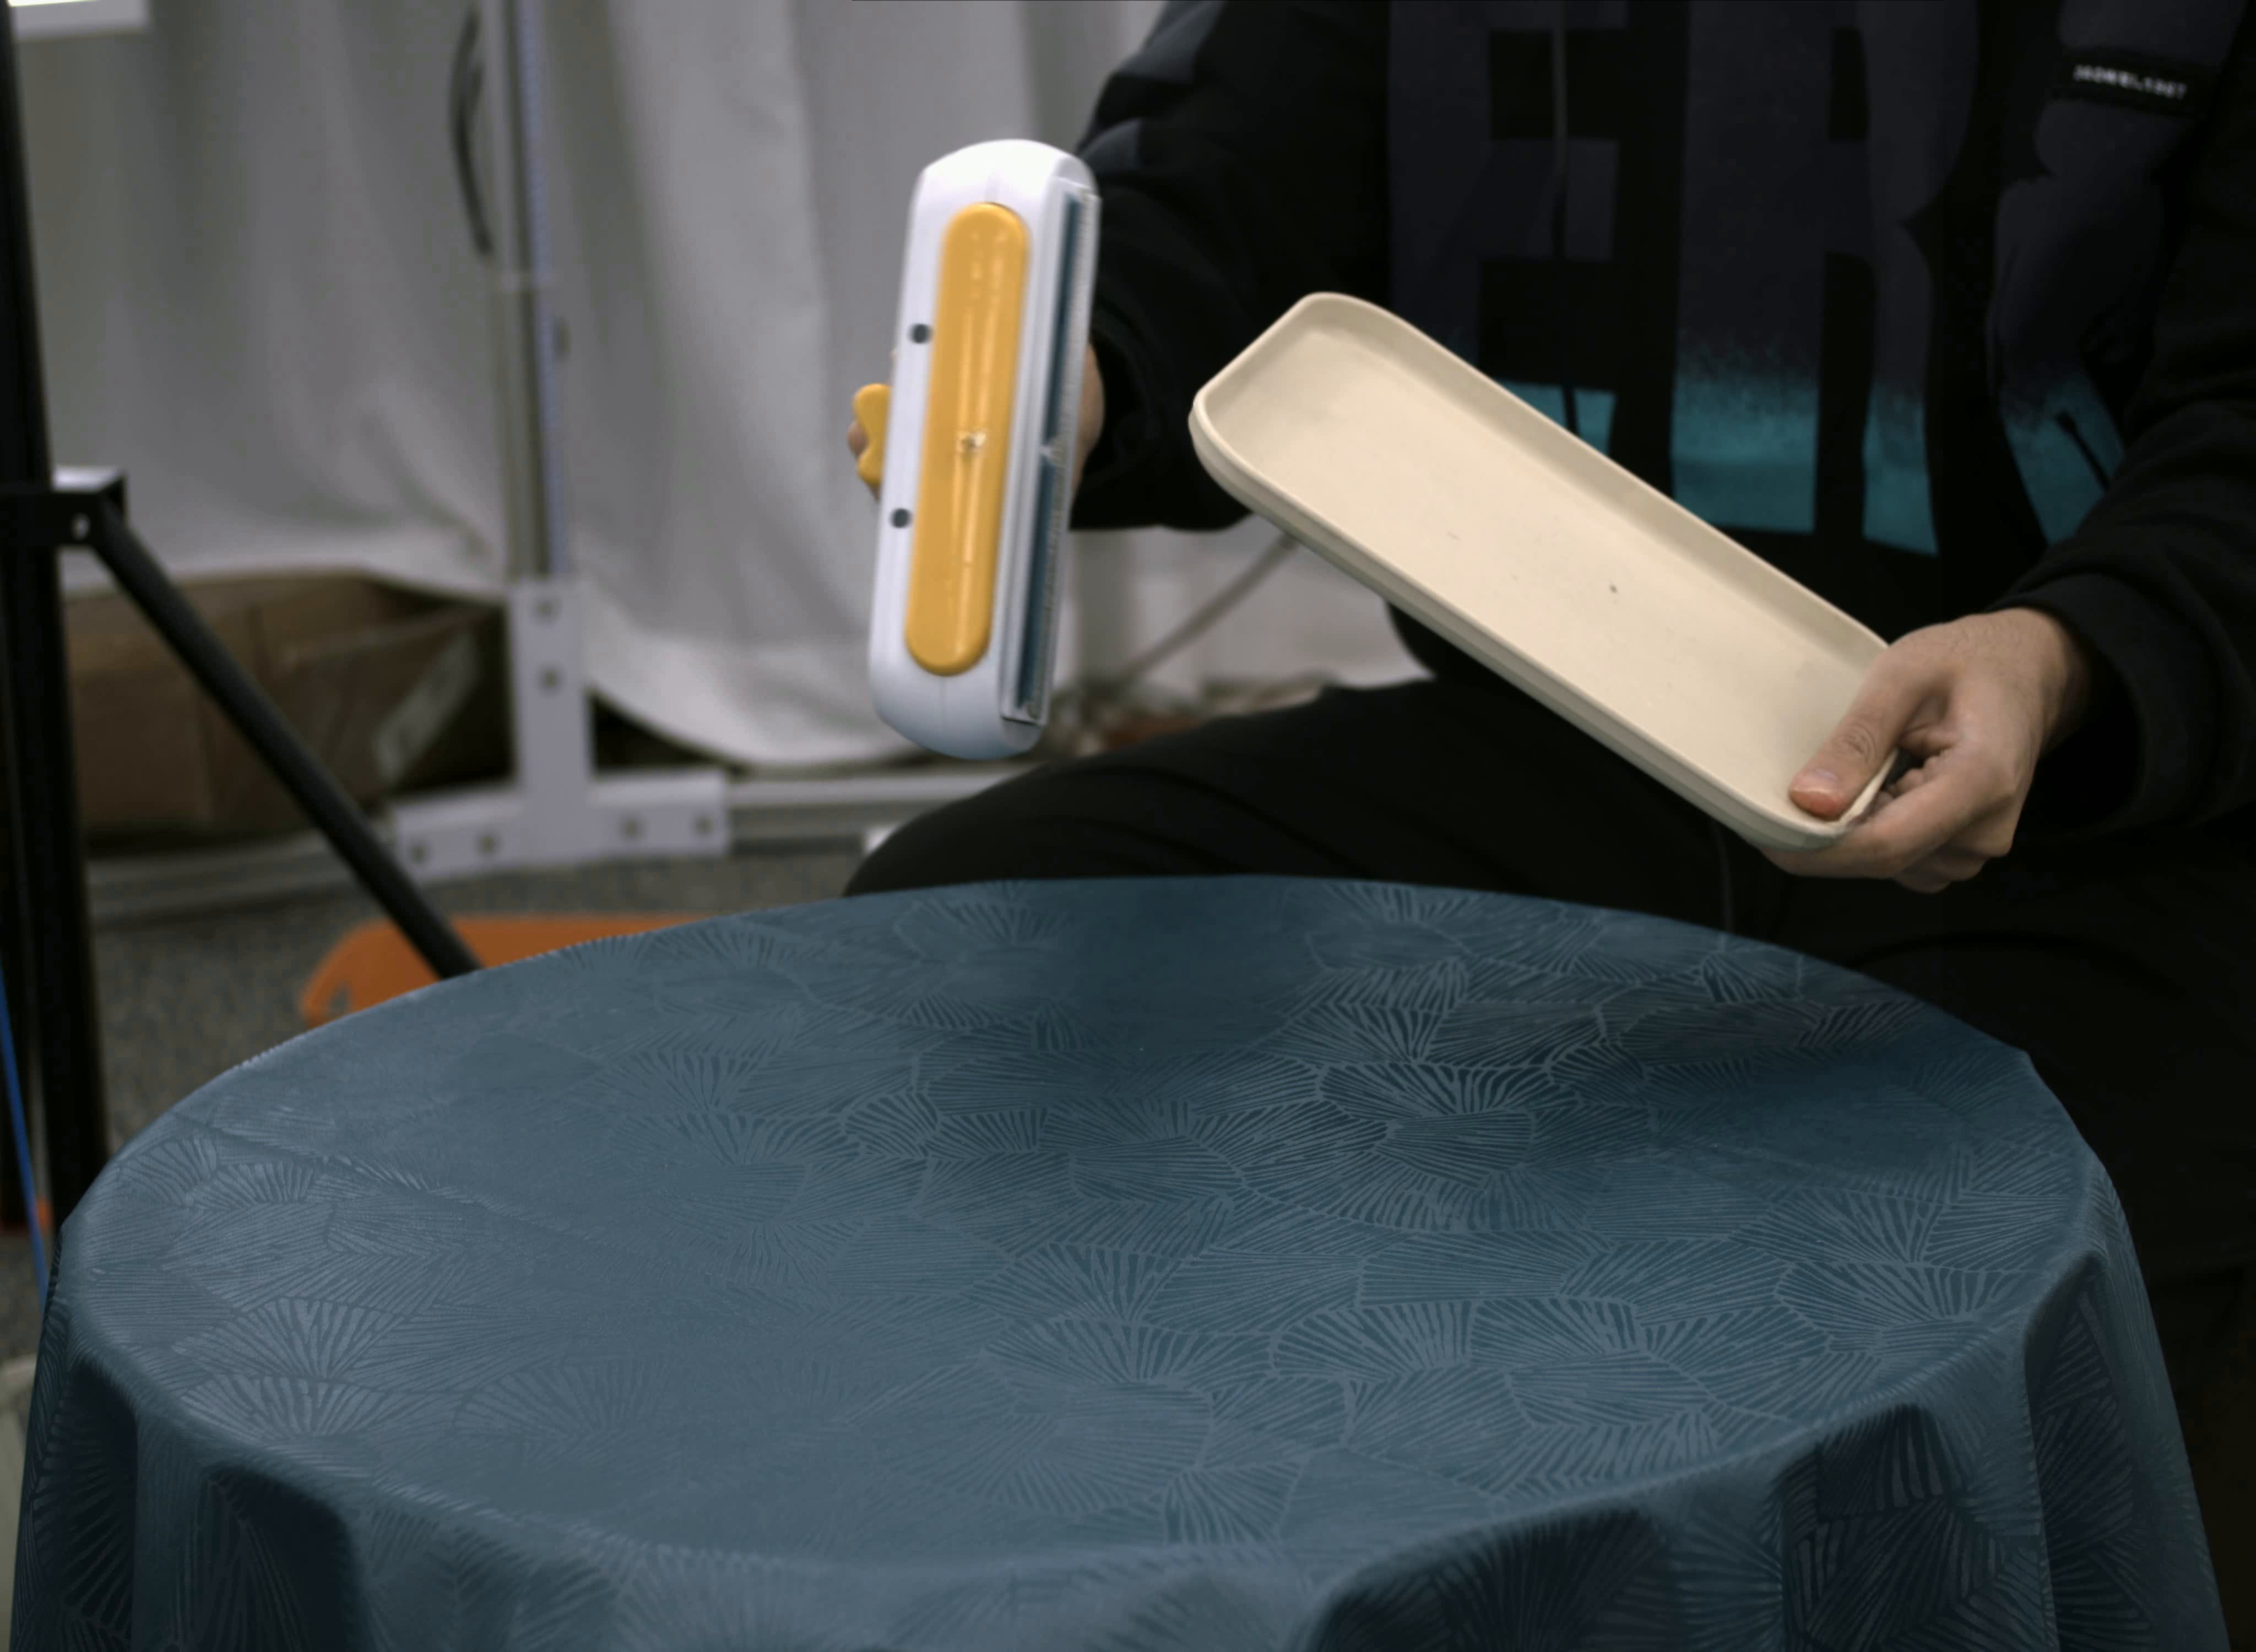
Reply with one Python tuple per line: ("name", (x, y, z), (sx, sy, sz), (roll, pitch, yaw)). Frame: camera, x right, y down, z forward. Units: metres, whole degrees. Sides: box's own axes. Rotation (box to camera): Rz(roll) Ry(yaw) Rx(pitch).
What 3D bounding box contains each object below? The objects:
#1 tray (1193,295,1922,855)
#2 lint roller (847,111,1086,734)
("tray", (0.134, -0.078, 1.649), (0.241, 0.017, 0.169), (34, 26, 7))
("lint roller", (-0.046, -0.119, 1.723), (0.074, 0.194, 0.190), (0, -7, 8))
